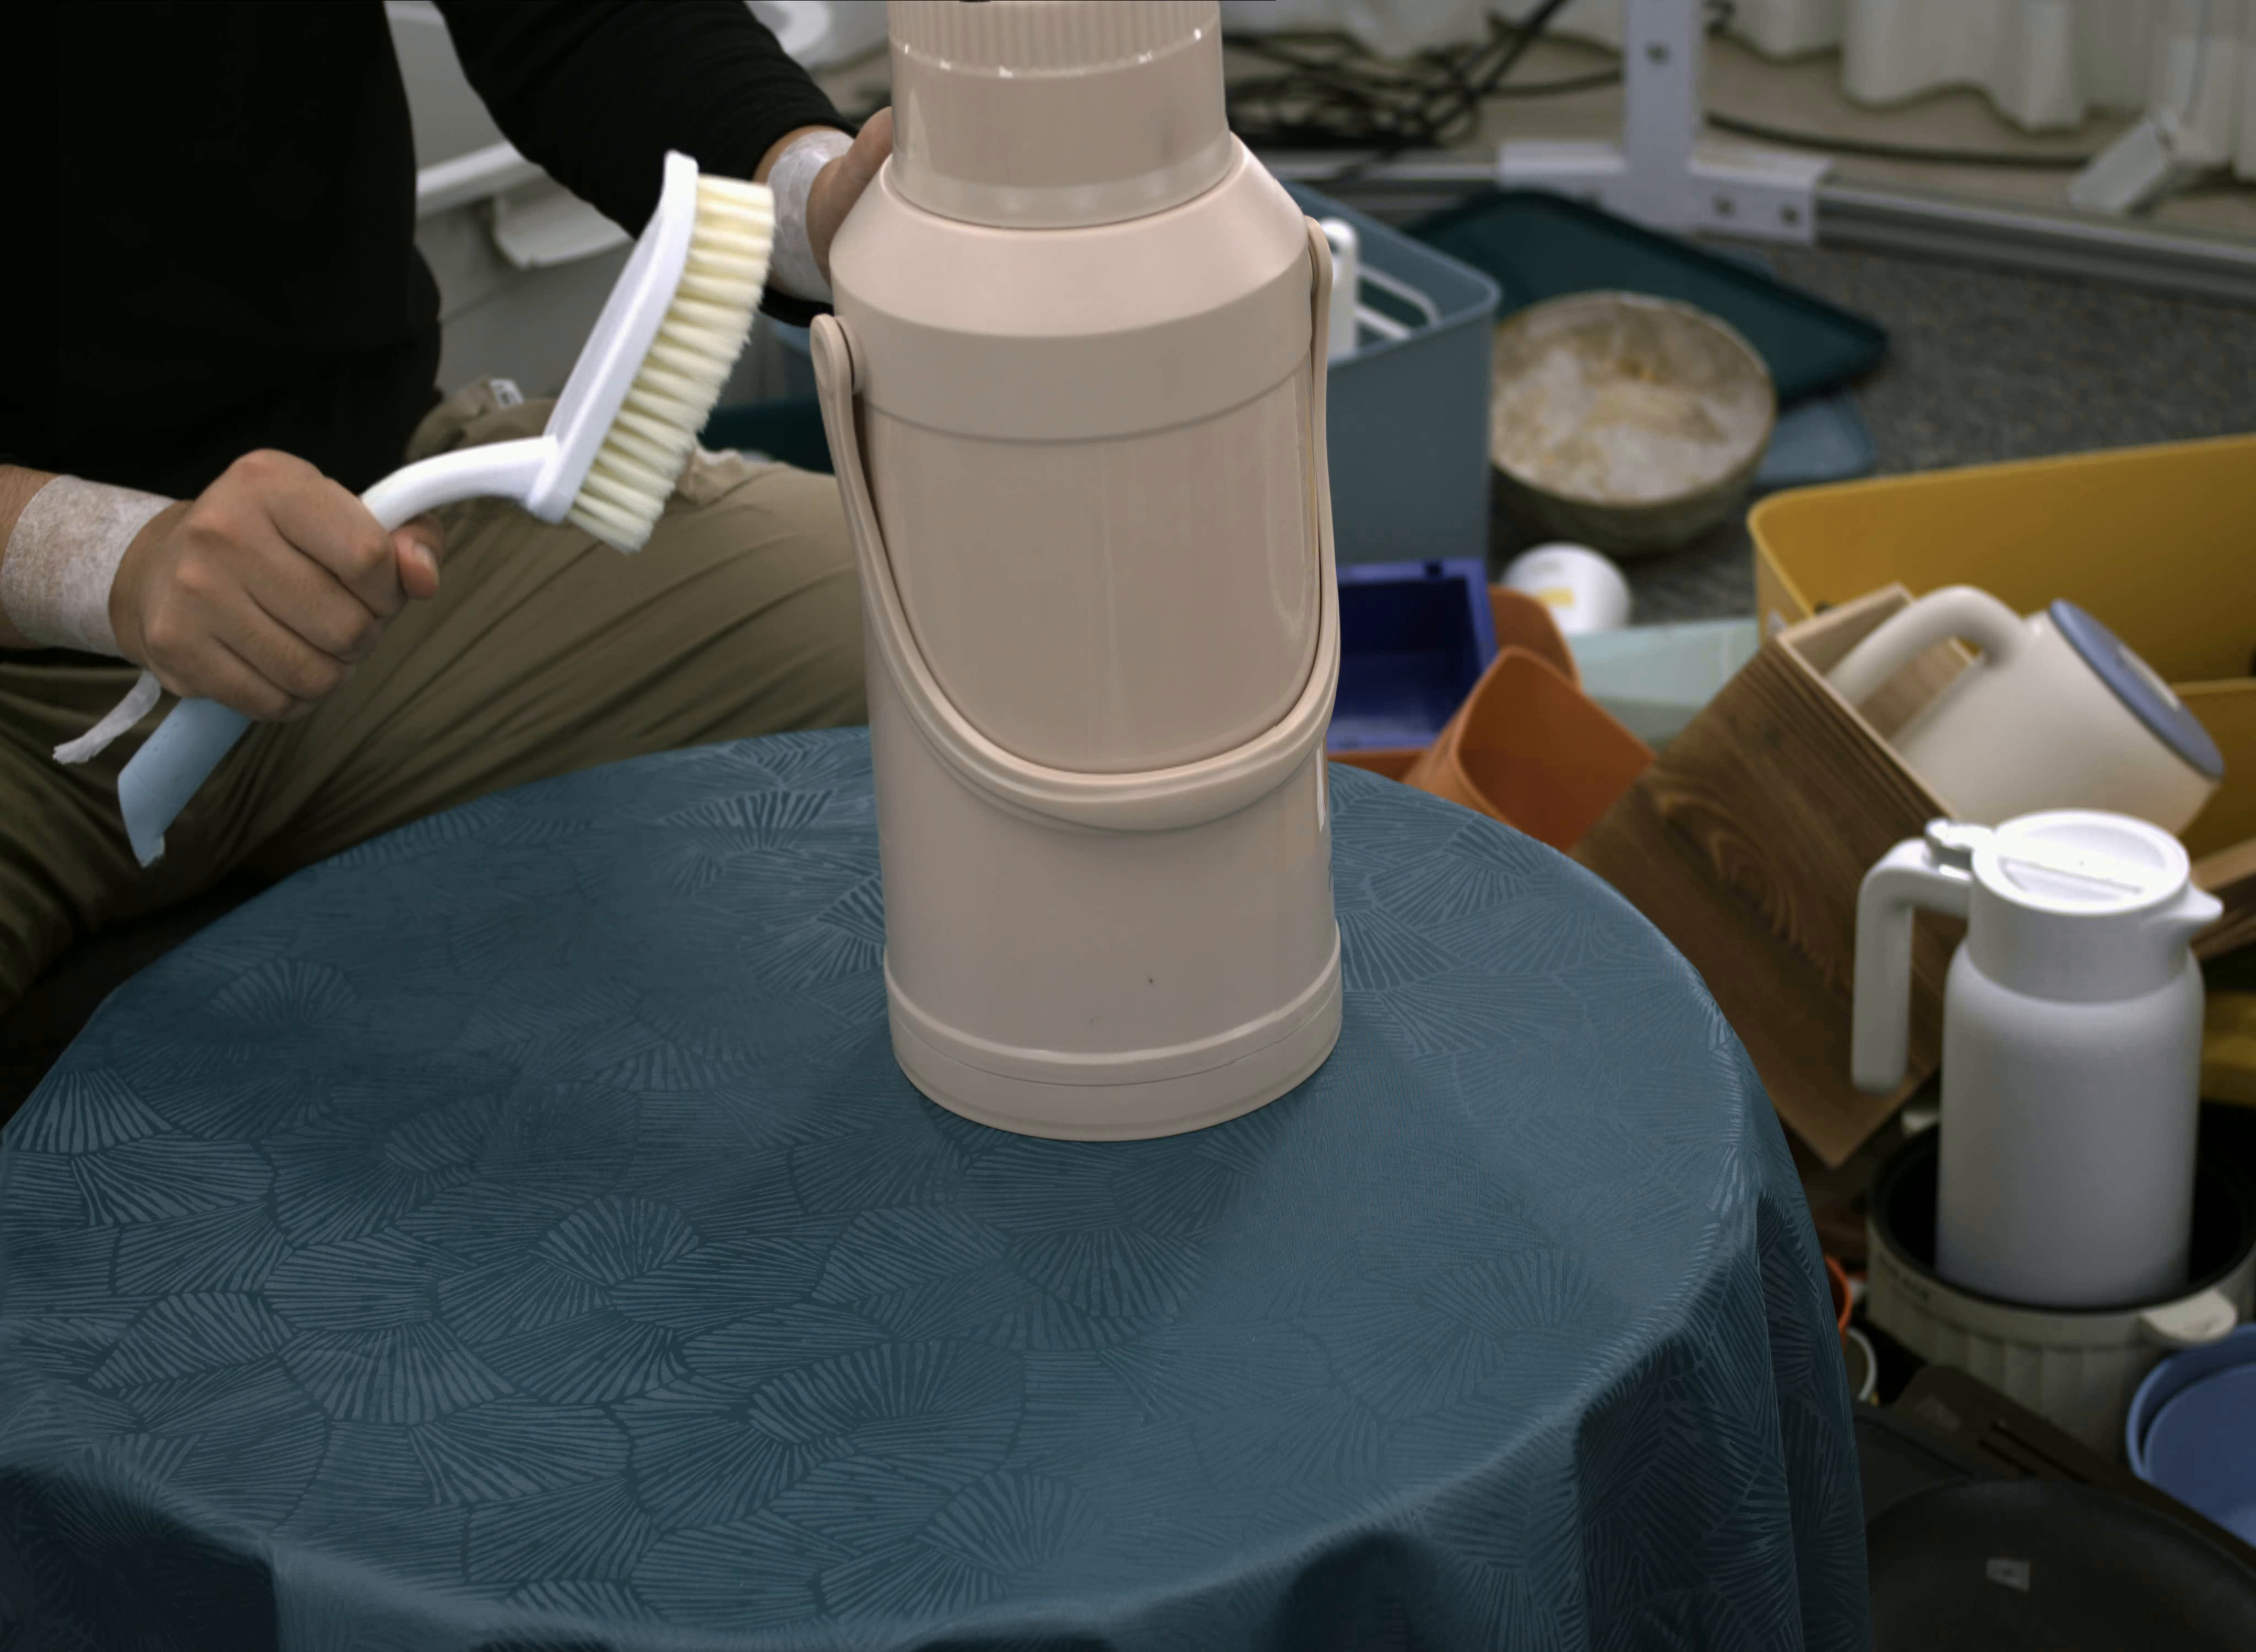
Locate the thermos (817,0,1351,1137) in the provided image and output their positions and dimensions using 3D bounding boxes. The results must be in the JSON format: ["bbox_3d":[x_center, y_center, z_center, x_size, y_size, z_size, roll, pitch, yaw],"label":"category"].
[{"bbox_3d":[-0.016,-0.112,1.889,0.176,0.402,0.208,-15,29,-19],"label":"thermos"}]

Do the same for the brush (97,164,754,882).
[{"bbox_3d":[-0.221,-0.083,1.890,0.085,0.322,0.083,48,18,21],"label":"brush"}]
